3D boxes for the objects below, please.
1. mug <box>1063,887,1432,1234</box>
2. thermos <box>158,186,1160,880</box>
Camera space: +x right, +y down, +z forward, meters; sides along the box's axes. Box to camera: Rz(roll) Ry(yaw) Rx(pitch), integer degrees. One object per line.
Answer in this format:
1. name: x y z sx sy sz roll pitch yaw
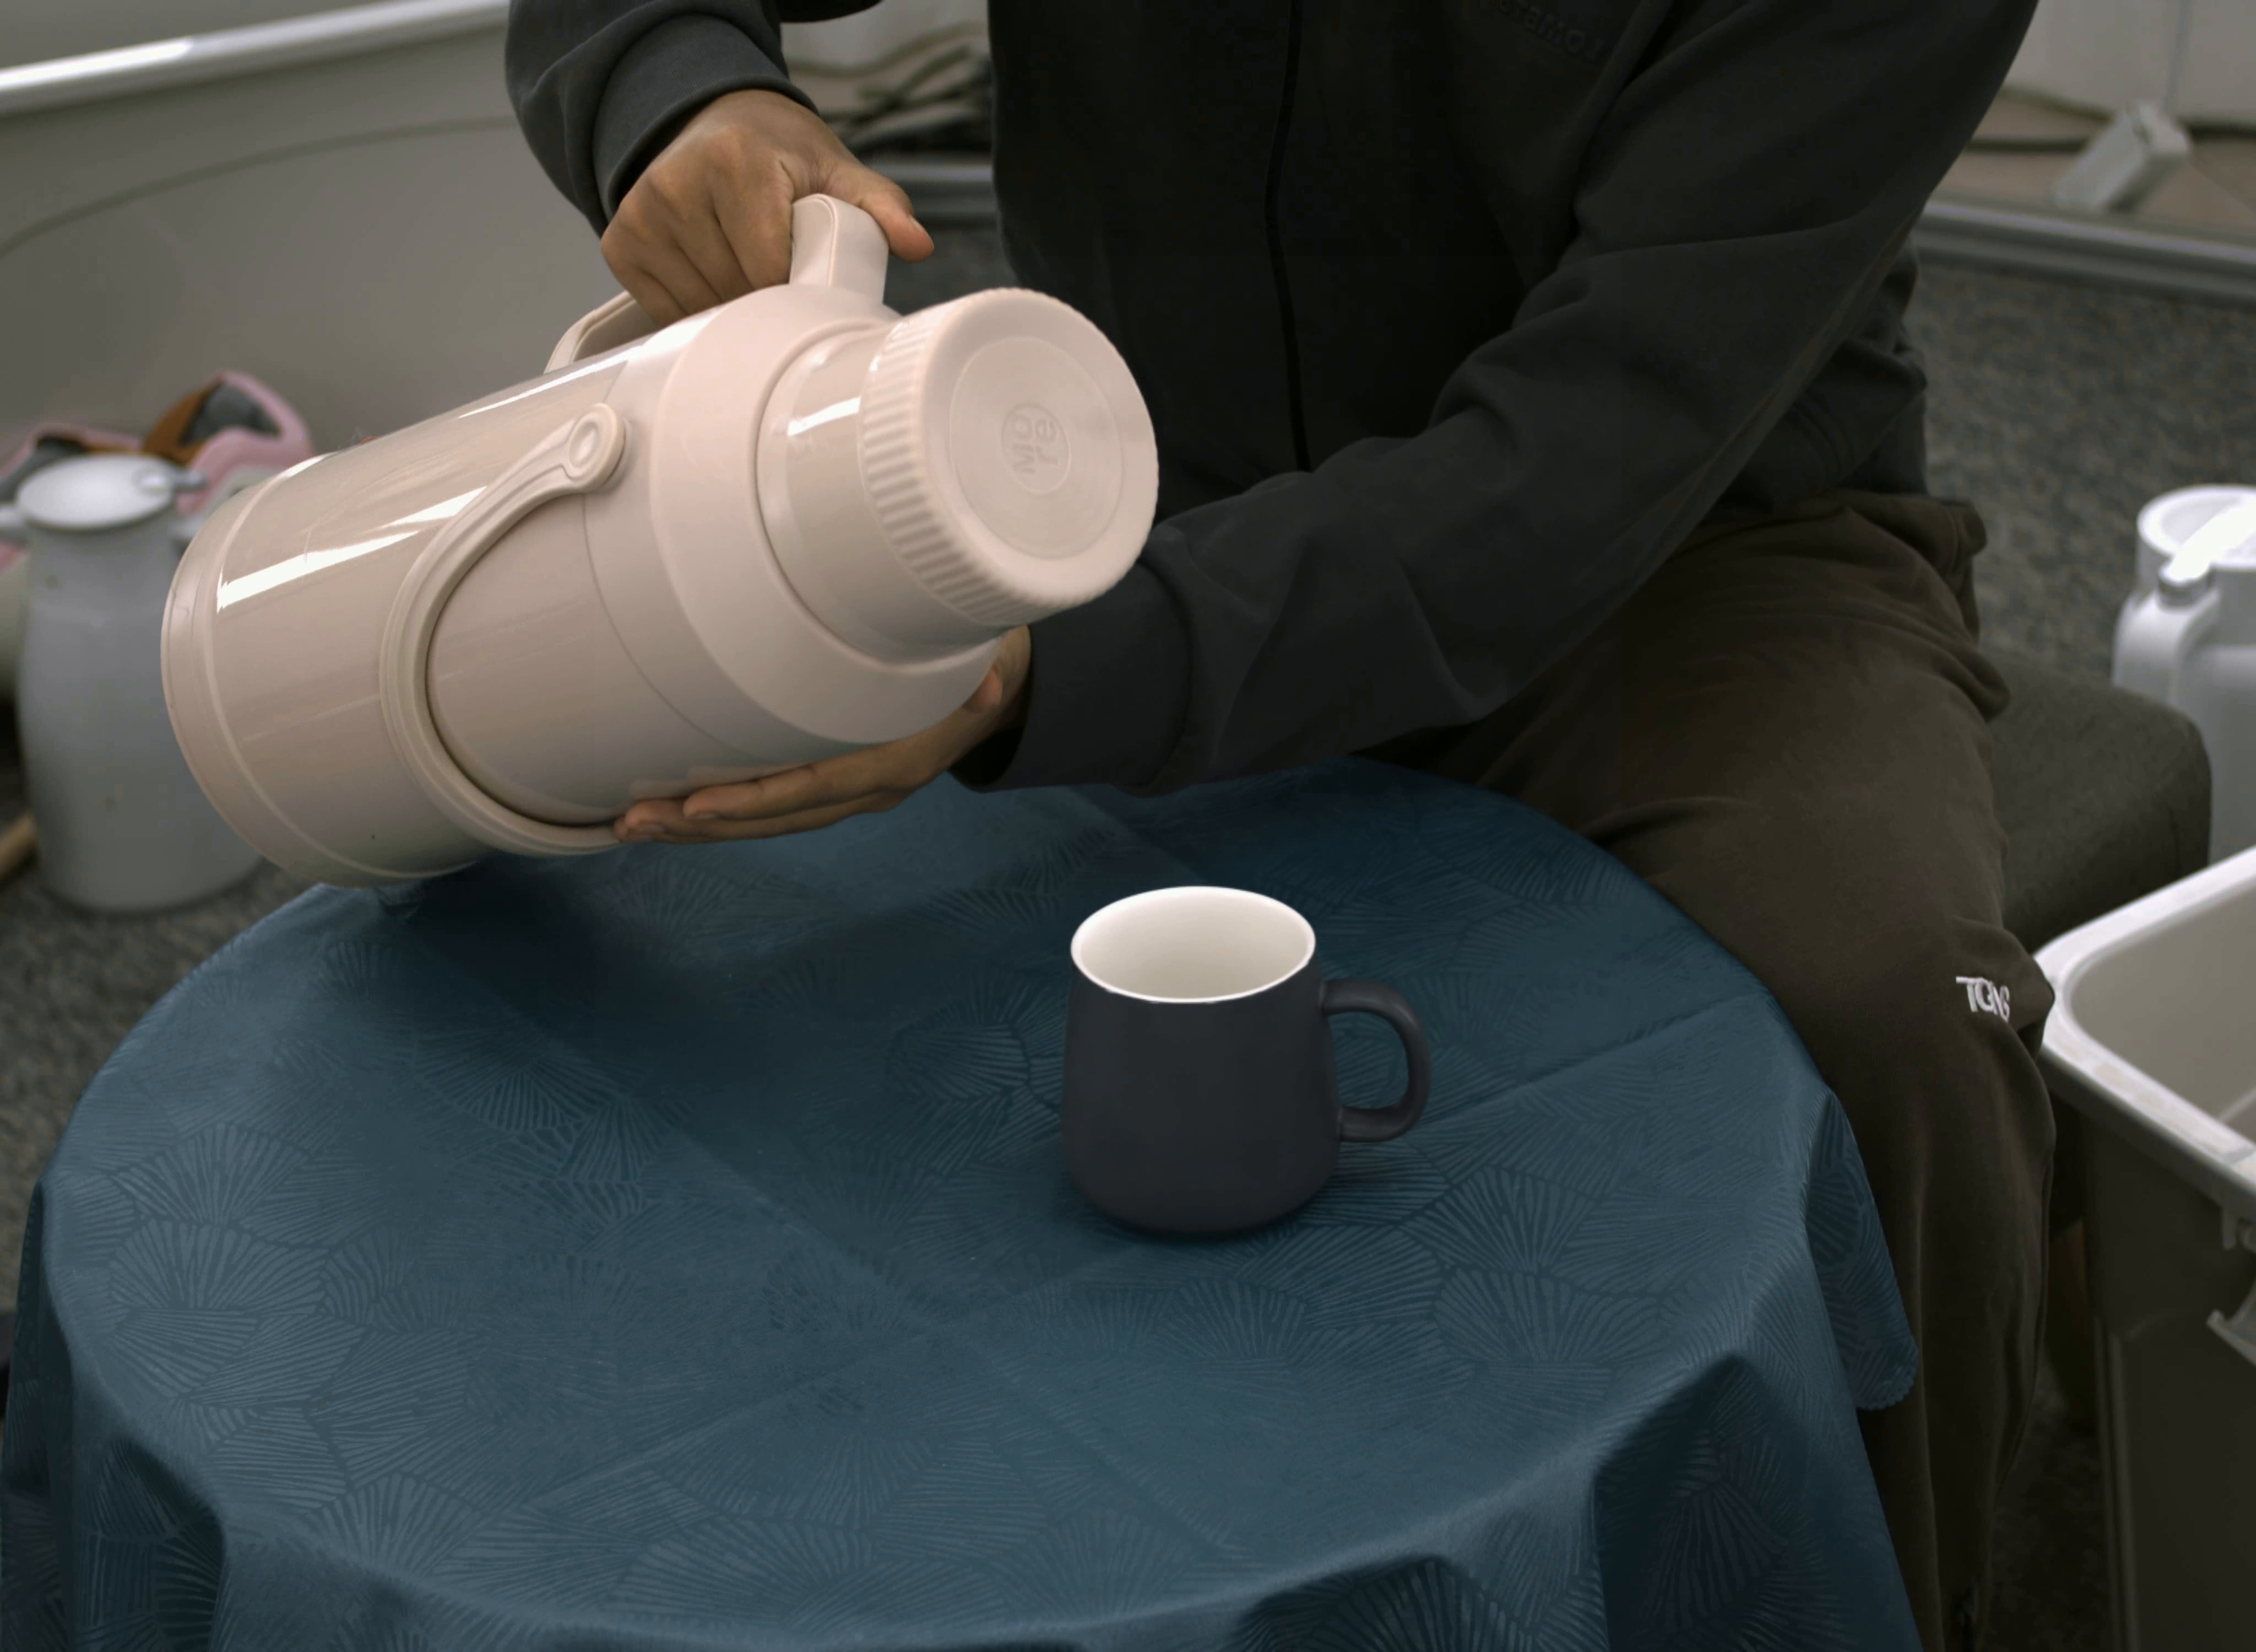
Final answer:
1. mug: 0.038 0.078 1.848 0.122 0.089 0.095 1 27 8
2. thermos: -0.158 -0.103 1.936 0.175 0.210 0.401 20 -23 -37
